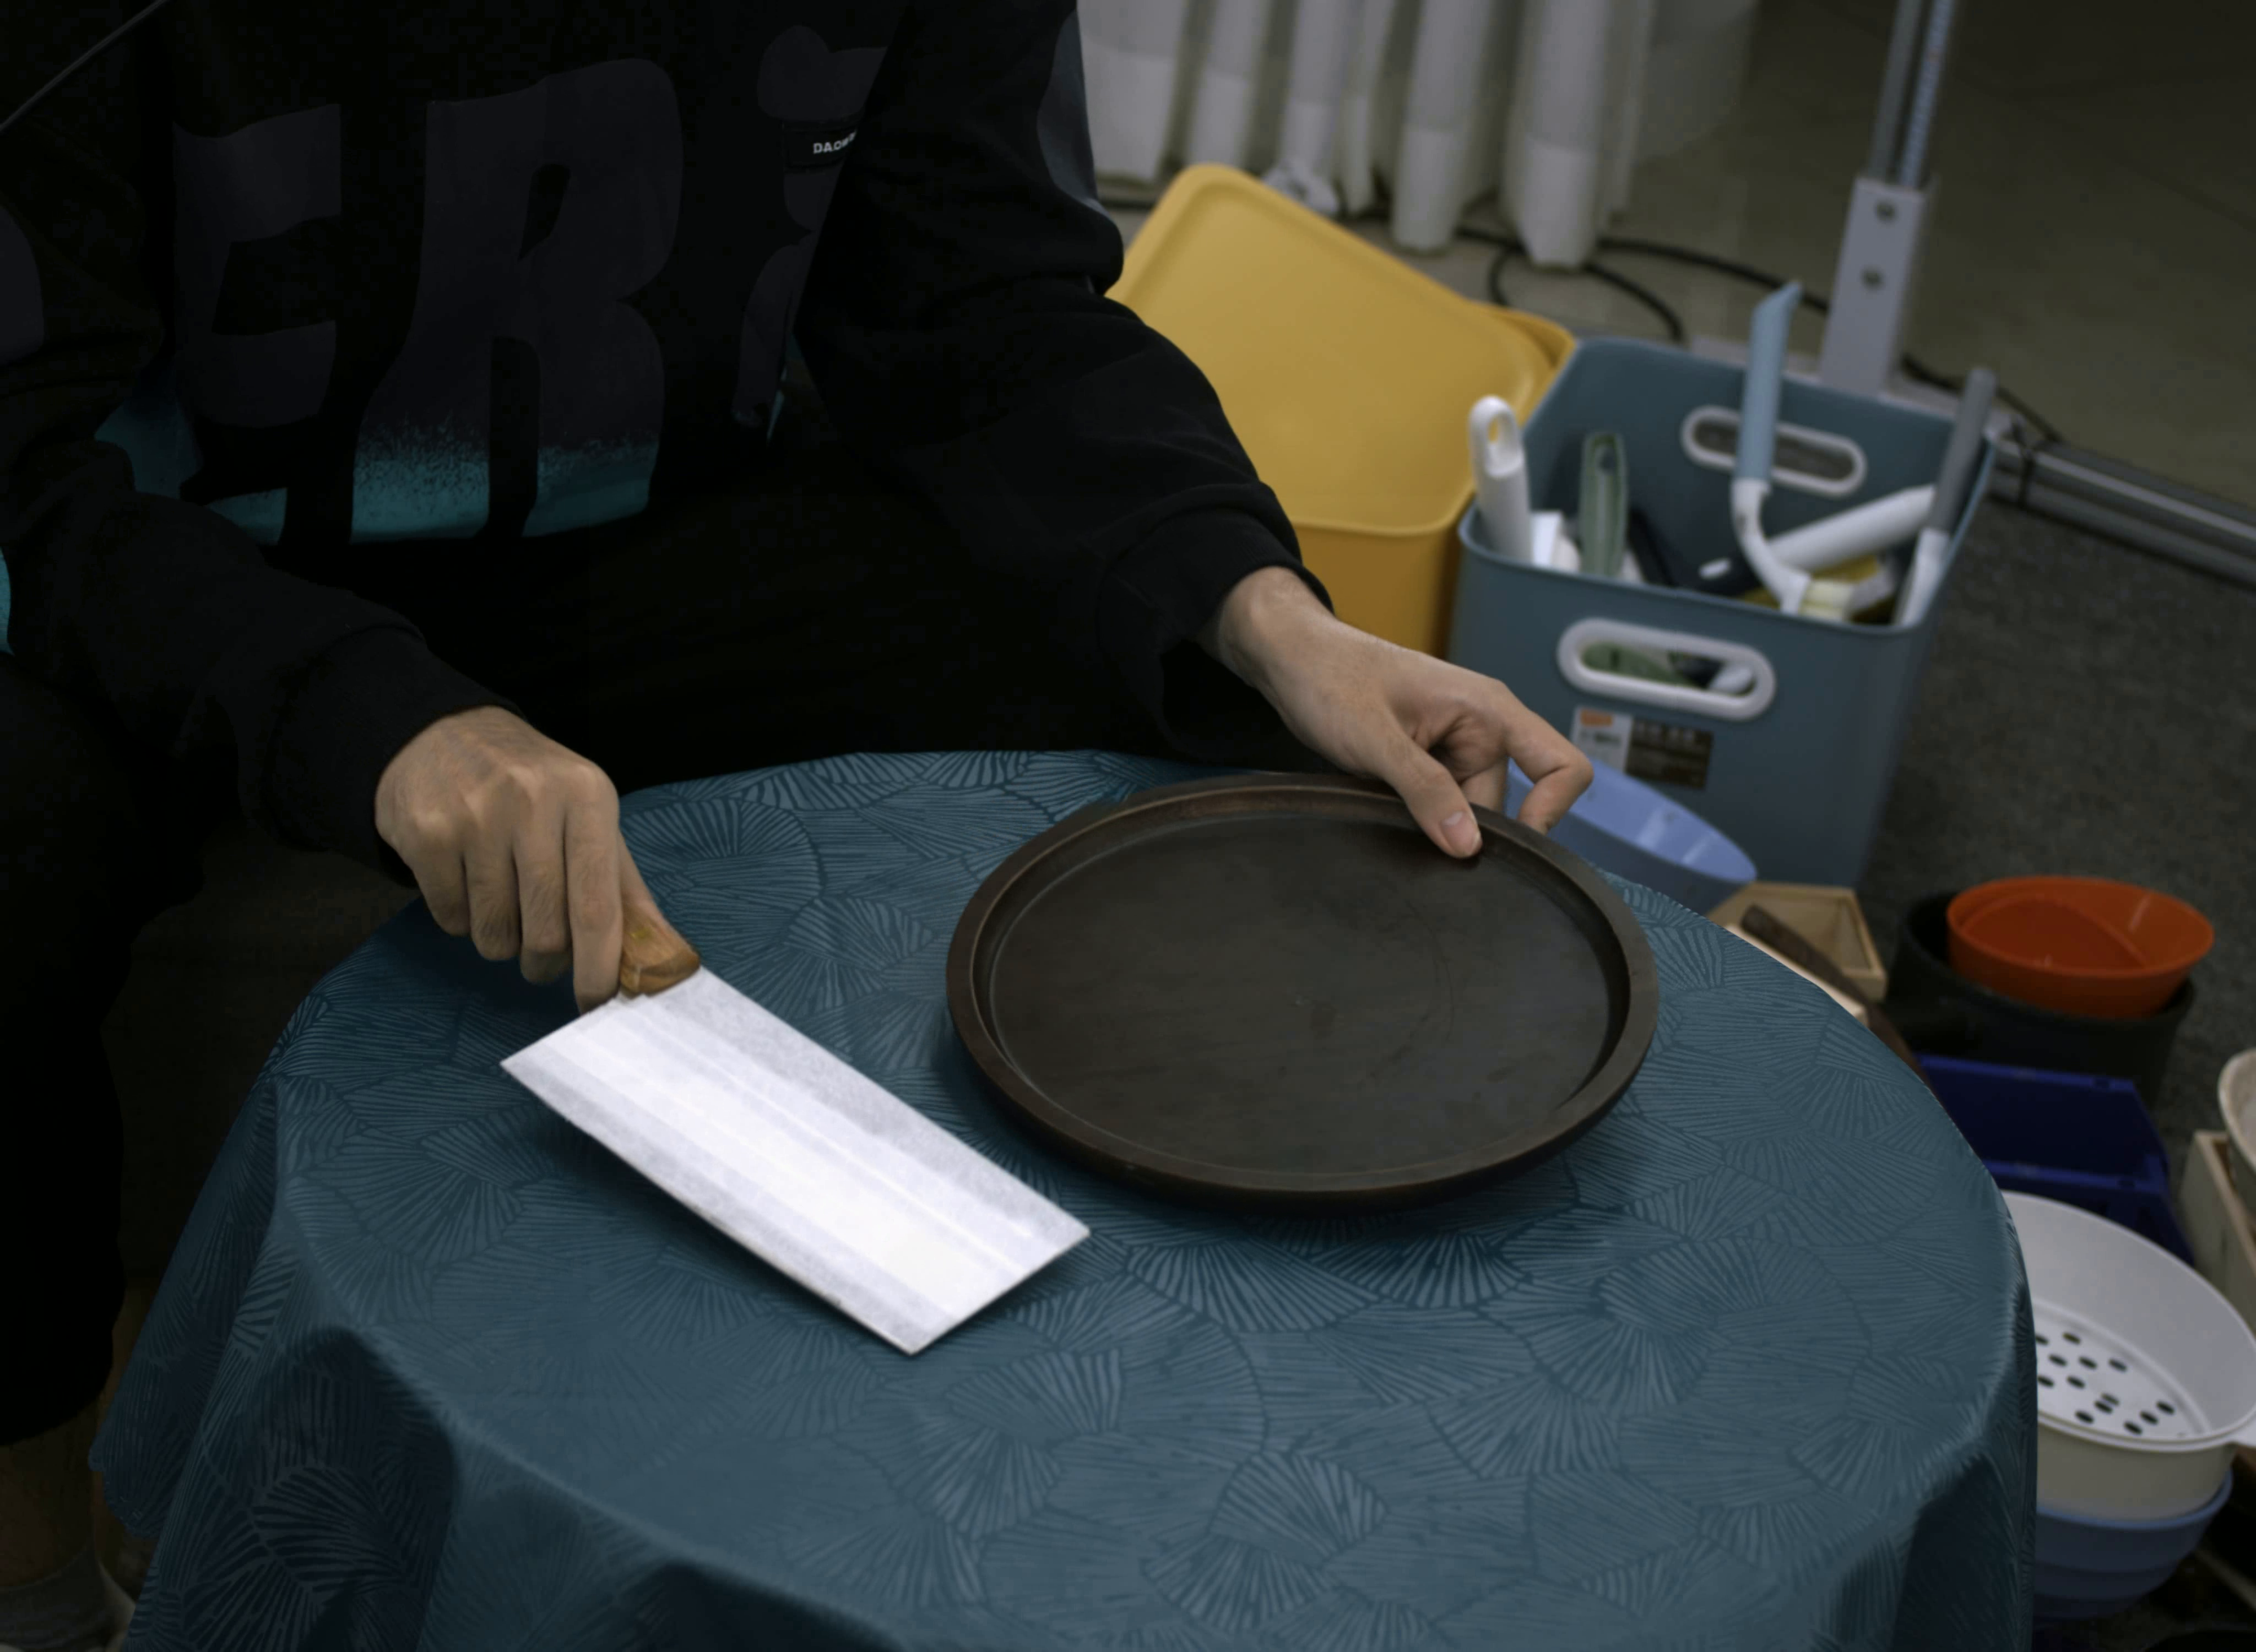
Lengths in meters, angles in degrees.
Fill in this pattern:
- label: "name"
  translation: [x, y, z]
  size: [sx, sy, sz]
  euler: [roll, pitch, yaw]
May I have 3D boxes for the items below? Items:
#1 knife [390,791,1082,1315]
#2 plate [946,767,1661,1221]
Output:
- label: "knife"
  translation: [-0.154, 0.077, 1.798]
  size: [0.308, 0.021, 0.092]
  euler: [32, 43, 28]
- label: "plate"
  translation: [0.062, 0.057, 1.880]
  size: [0.254, 0.029, 0.256]
  euler: [1, 34, -1]
